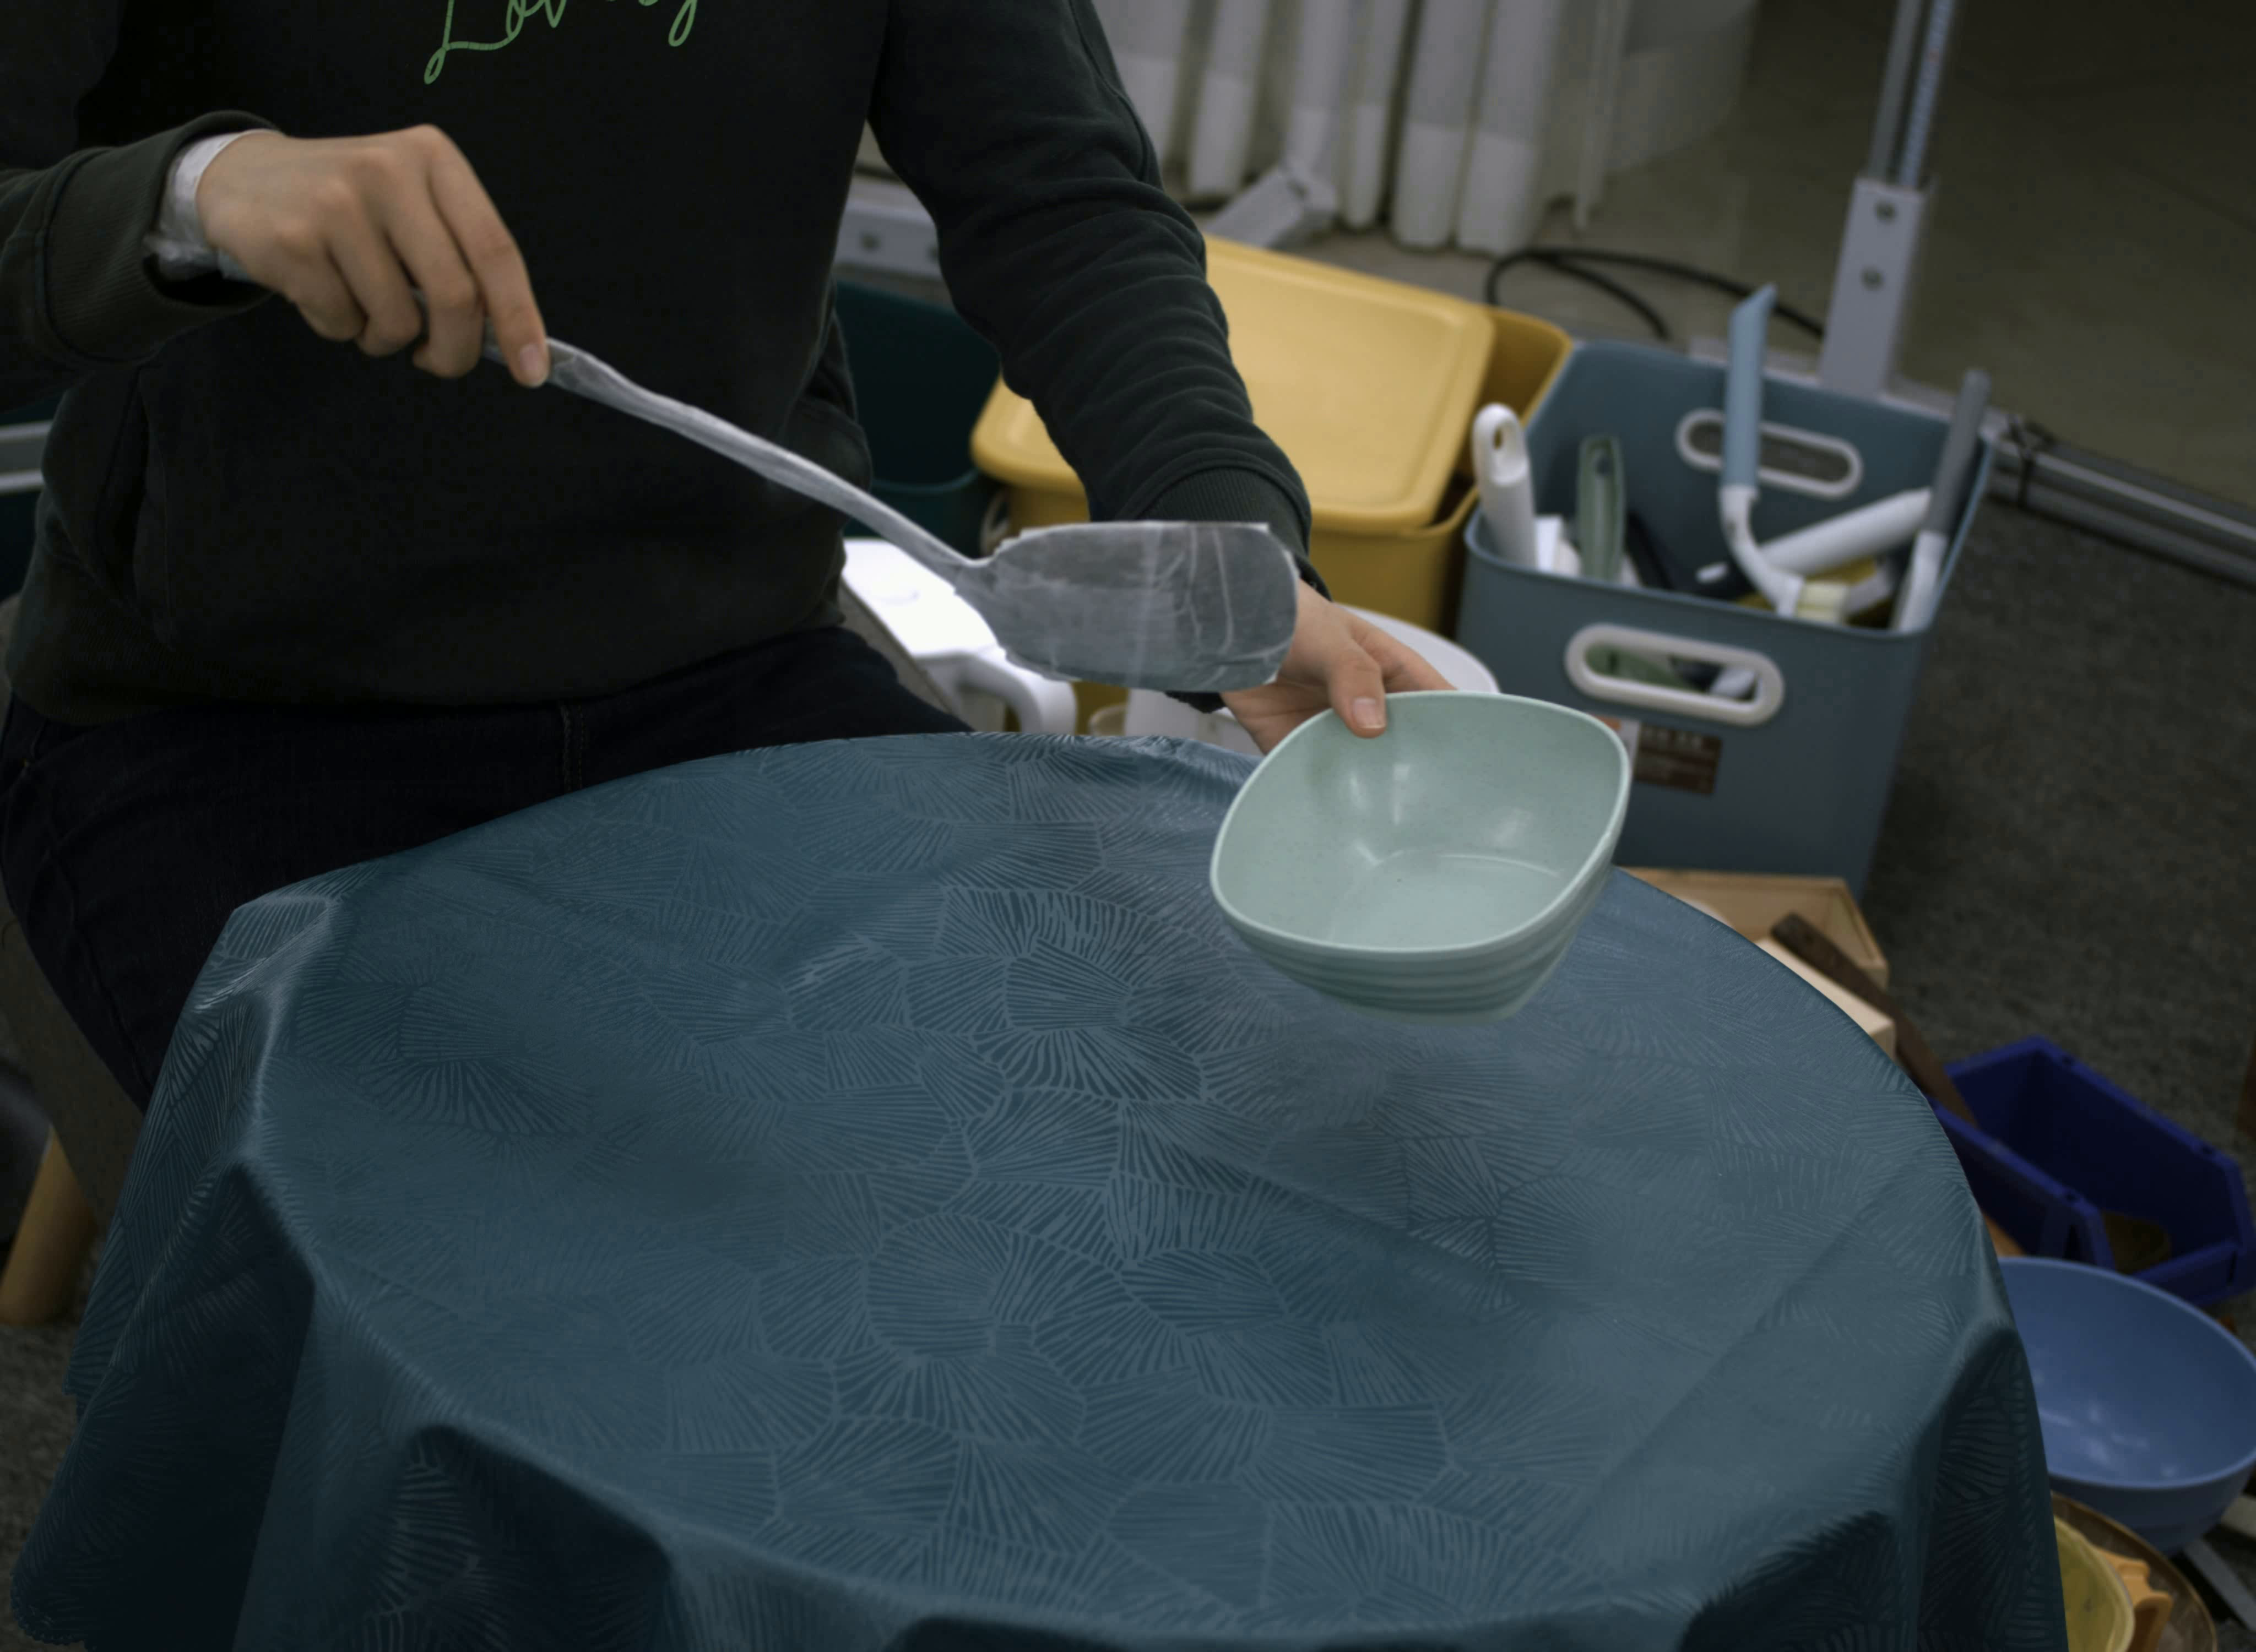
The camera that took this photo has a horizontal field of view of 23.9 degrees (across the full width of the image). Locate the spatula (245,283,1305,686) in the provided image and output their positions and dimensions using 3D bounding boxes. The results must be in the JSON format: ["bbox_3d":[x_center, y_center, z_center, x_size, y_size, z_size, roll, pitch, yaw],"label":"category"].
[{"bbox_3d":[-0.117,-0.120,1.711,0.365,0.098,0.045,23,62,12],"label":"spatula"}]

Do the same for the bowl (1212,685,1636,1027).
[{"bbox_3d":[0.105,0.018,1.819,0.151,0.058,0.152,-8,39,6],"label":"bowl"}]
